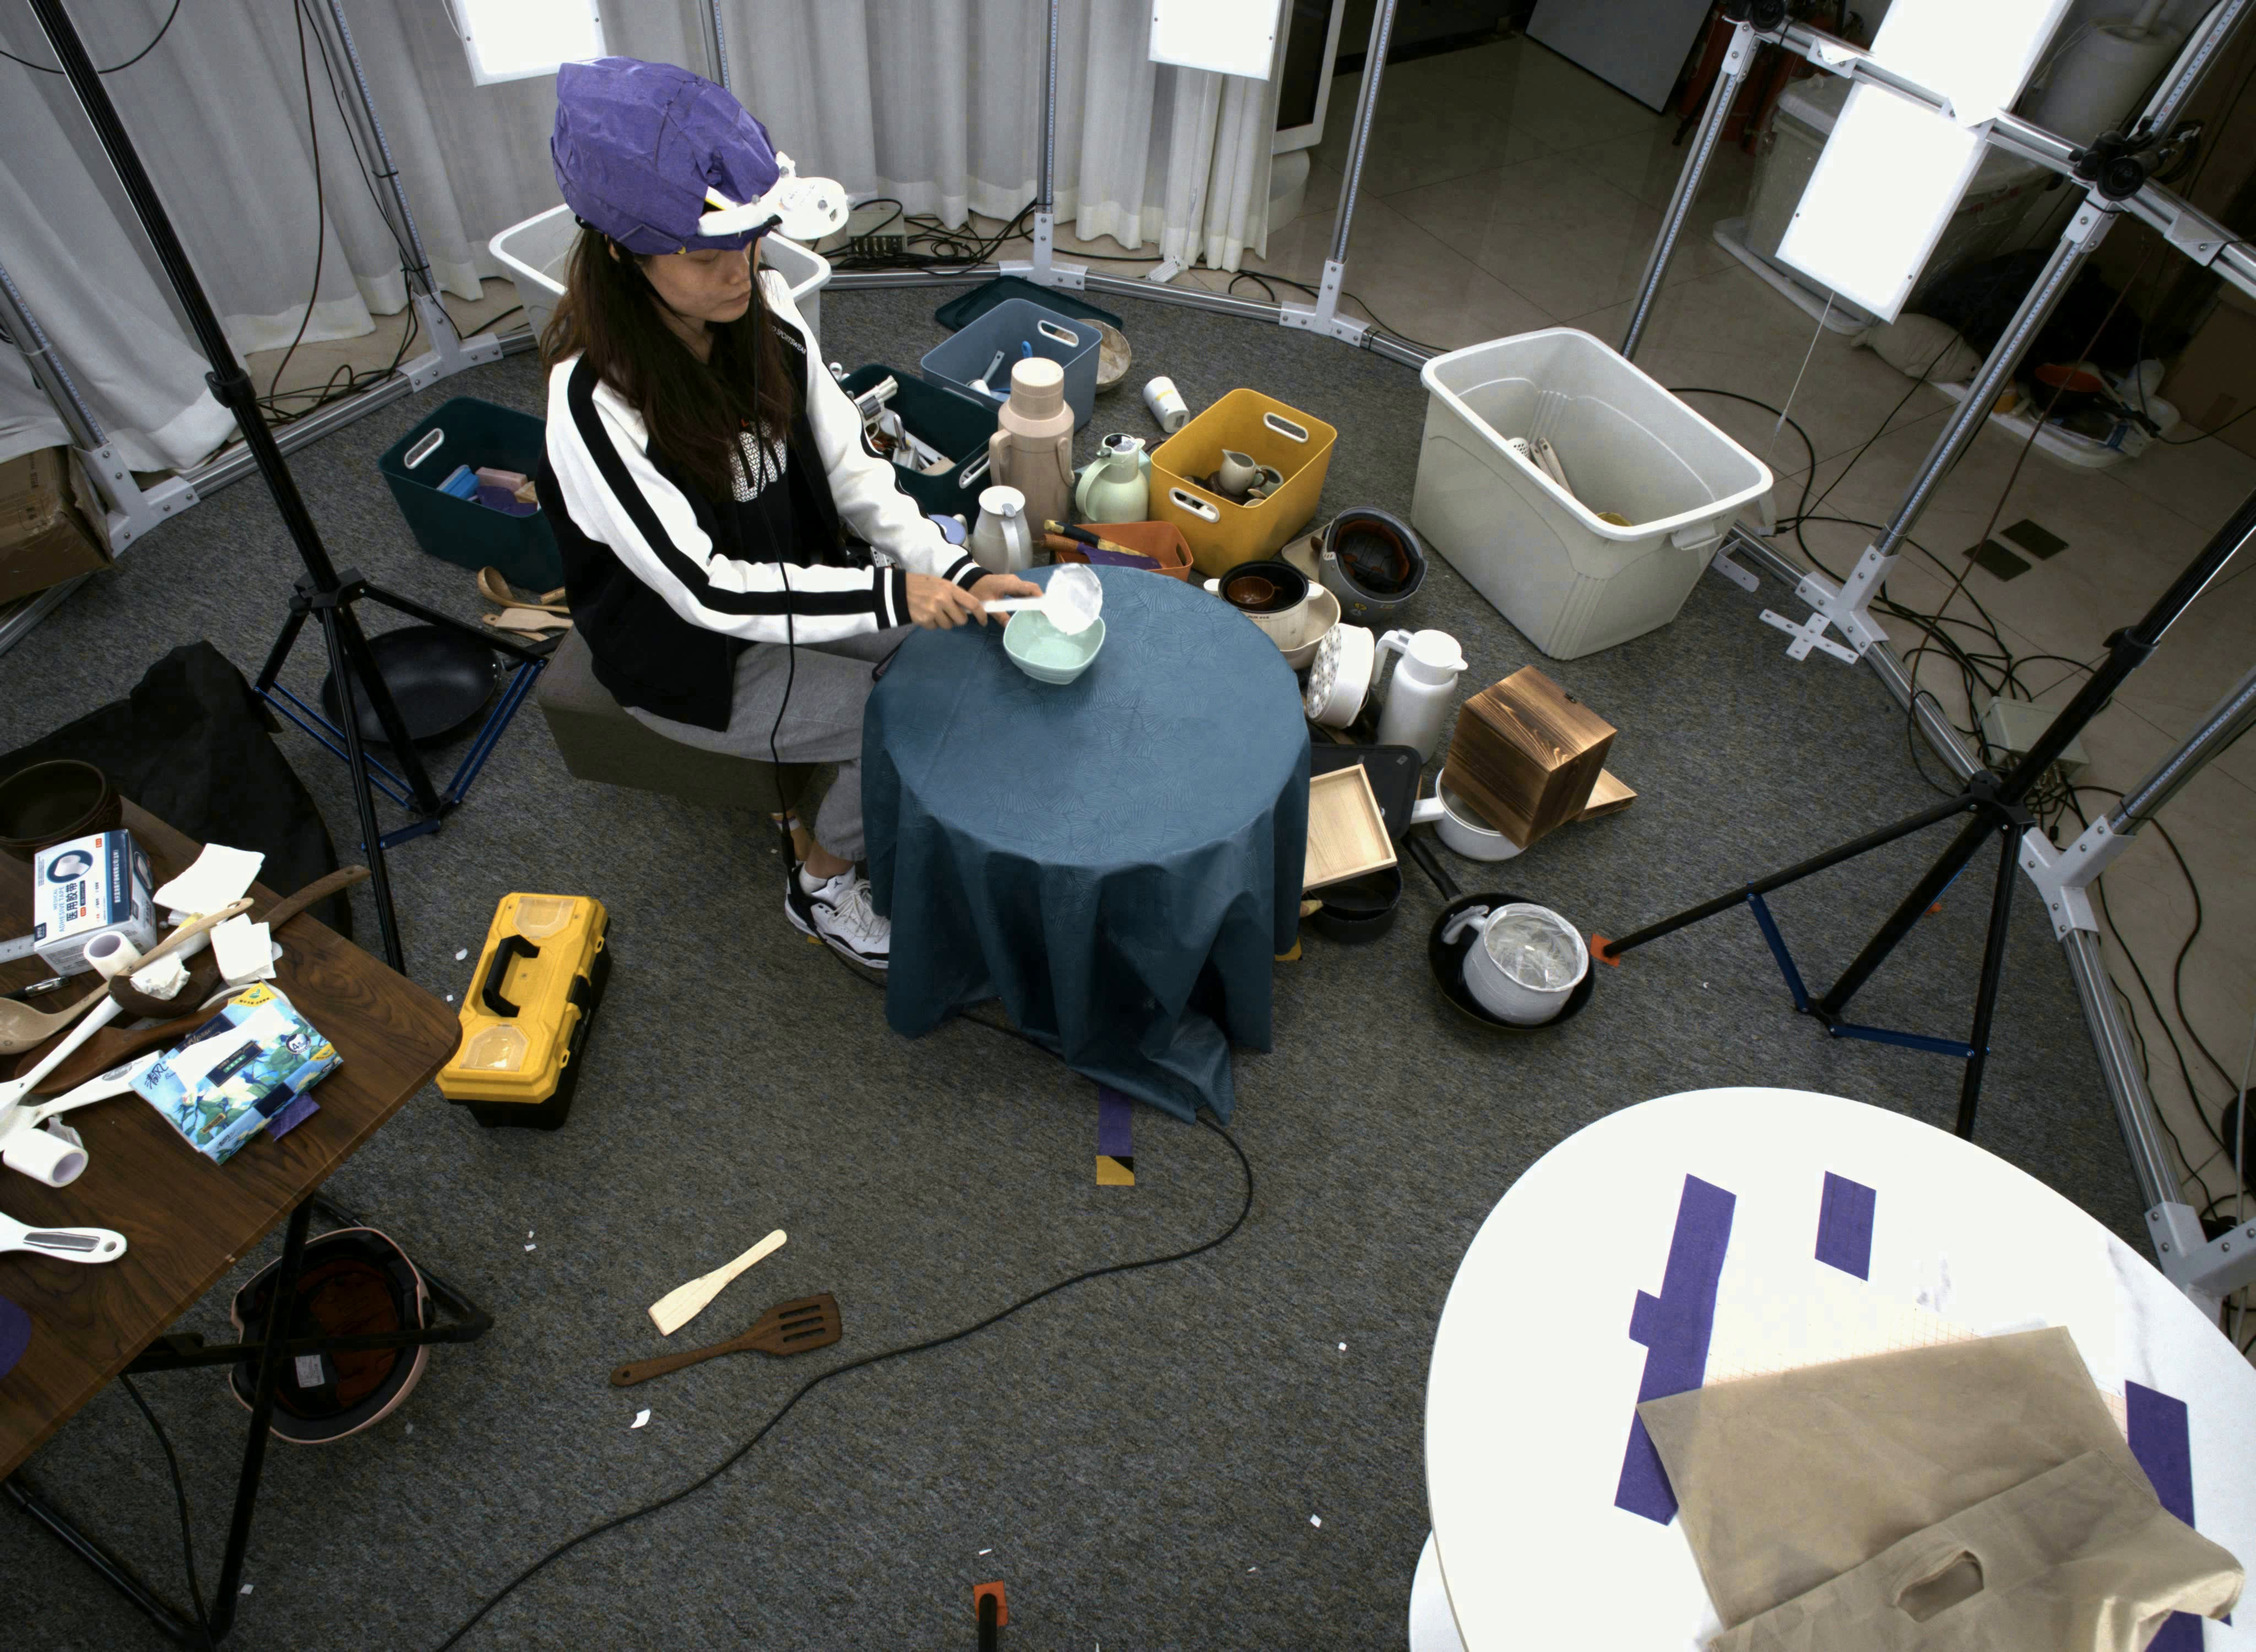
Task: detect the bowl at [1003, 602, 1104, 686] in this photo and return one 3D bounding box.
[{"bbox_3d":[-0.107,-0.254,1.850,0.151,0.057,0.155,2,49,-3],"label":"bowl"}]

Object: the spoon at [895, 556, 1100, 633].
[{"bbox_3d":[-0.175,-0.308,1.717,0.277,0.059,0.101,0,91,0],"label":"spoon"}]
